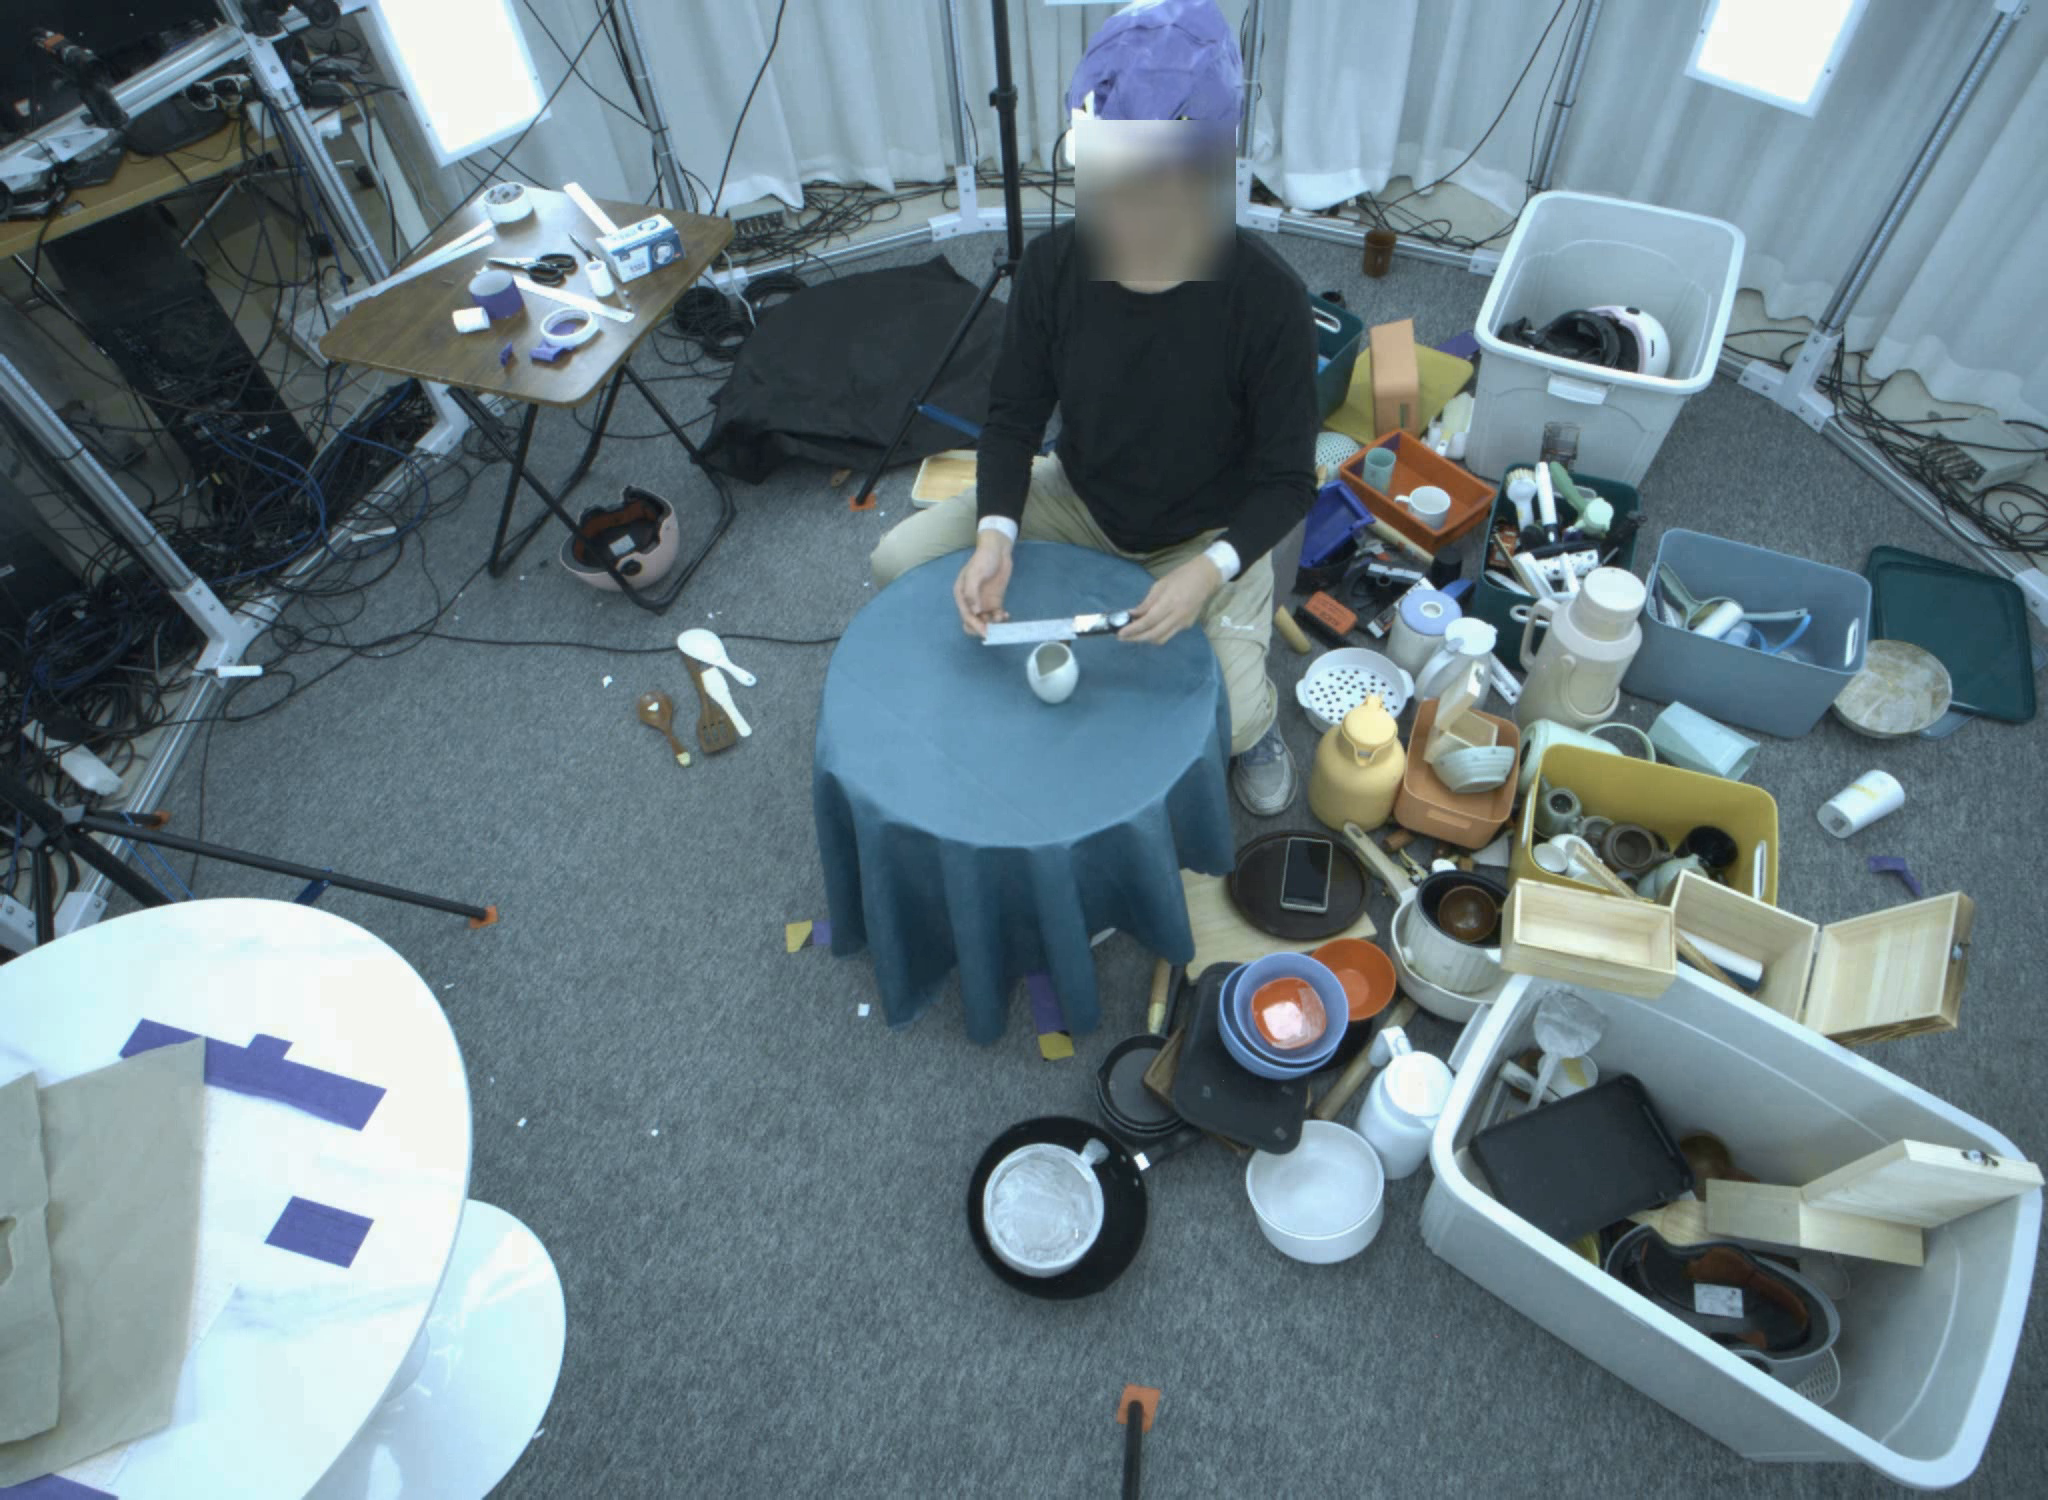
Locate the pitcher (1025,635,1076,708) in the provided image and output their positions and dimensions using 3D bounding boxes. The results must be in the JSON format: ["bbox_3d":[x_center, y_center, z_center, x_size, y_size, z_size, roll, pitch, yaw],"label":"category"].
[{"bbox_3d":[0.043,-0.111,1.812,0.075,0.088,0.119,23,60,14],"label":"pitcher"}]

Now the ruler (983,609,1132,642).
[{"bbox_3d":[0.047,-0.182,1.789,0.217,0.024,0.038,-2,56,8],"label":"ruler"}]
